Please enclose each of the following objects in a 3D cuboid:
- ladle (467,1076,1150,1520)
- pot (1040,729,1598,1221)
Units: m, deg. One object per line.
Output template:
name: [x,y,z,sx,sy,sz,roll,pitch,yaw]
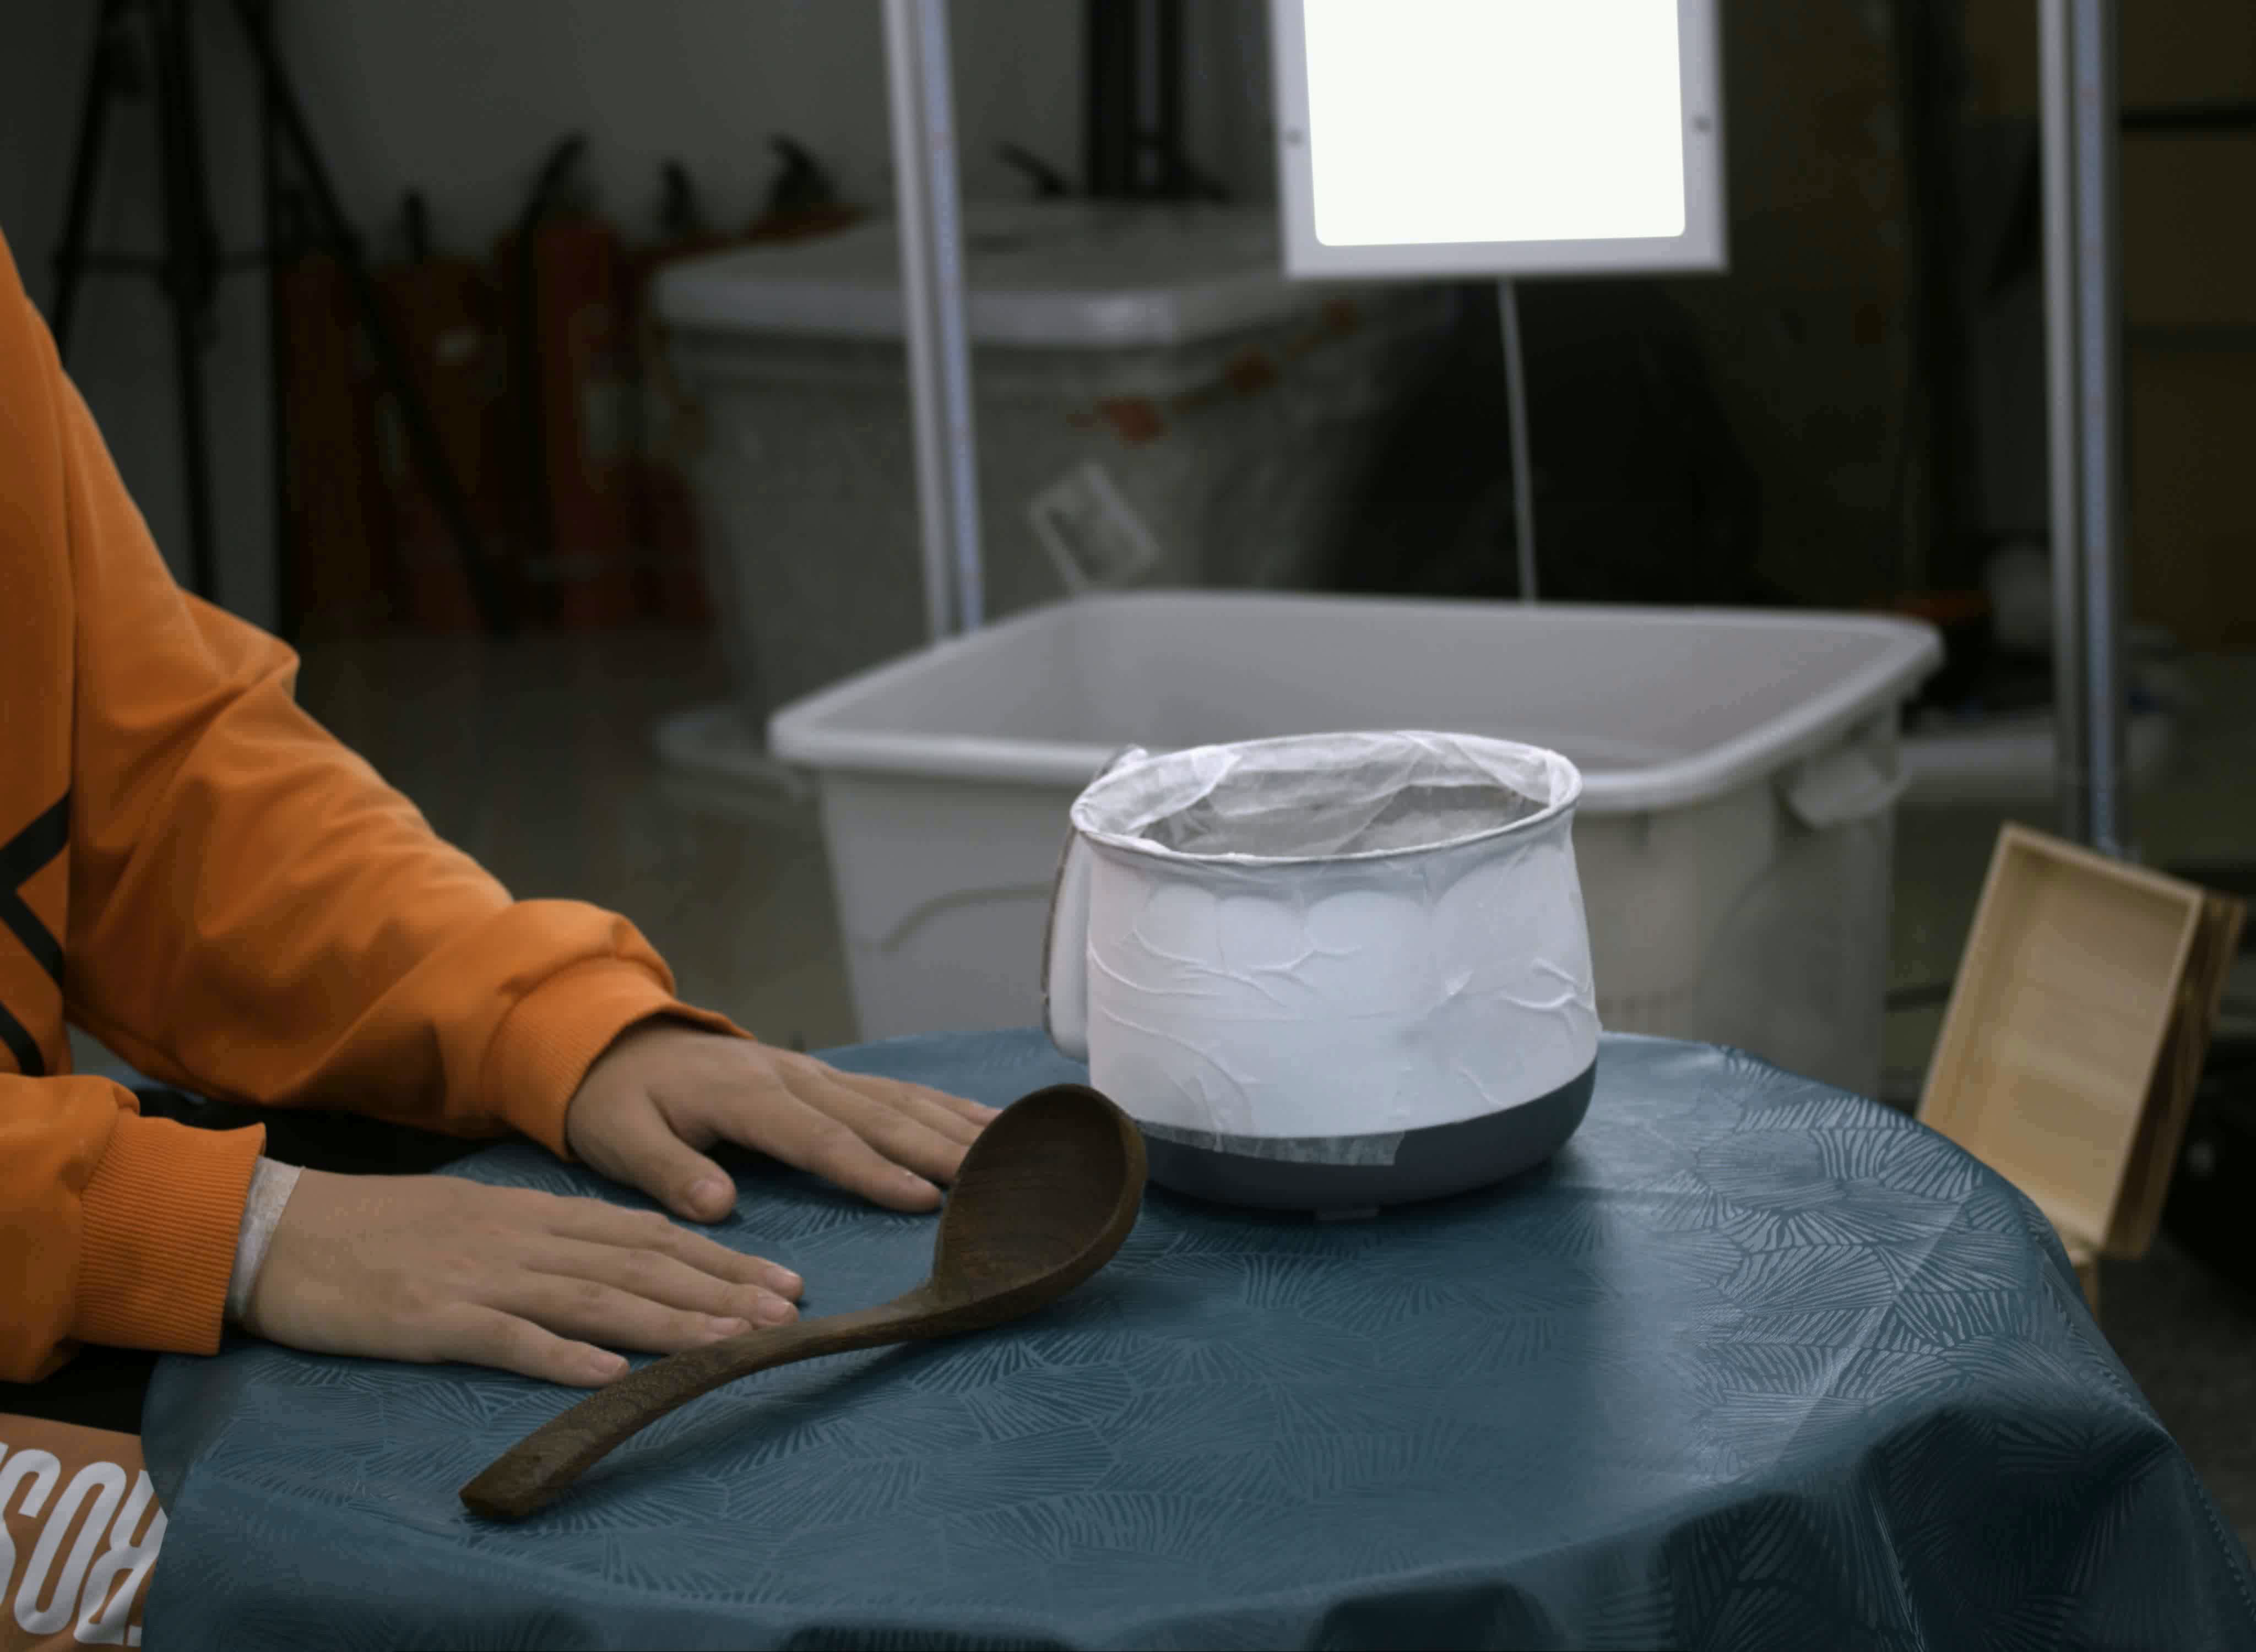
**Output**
ladle: [-0.100,0.143,1.721,0.267,0.071,0.078,-17,15,-42]
pot: [0.054,0.046,1.917,0.174,0.137,0.239,-16,18,-40]
